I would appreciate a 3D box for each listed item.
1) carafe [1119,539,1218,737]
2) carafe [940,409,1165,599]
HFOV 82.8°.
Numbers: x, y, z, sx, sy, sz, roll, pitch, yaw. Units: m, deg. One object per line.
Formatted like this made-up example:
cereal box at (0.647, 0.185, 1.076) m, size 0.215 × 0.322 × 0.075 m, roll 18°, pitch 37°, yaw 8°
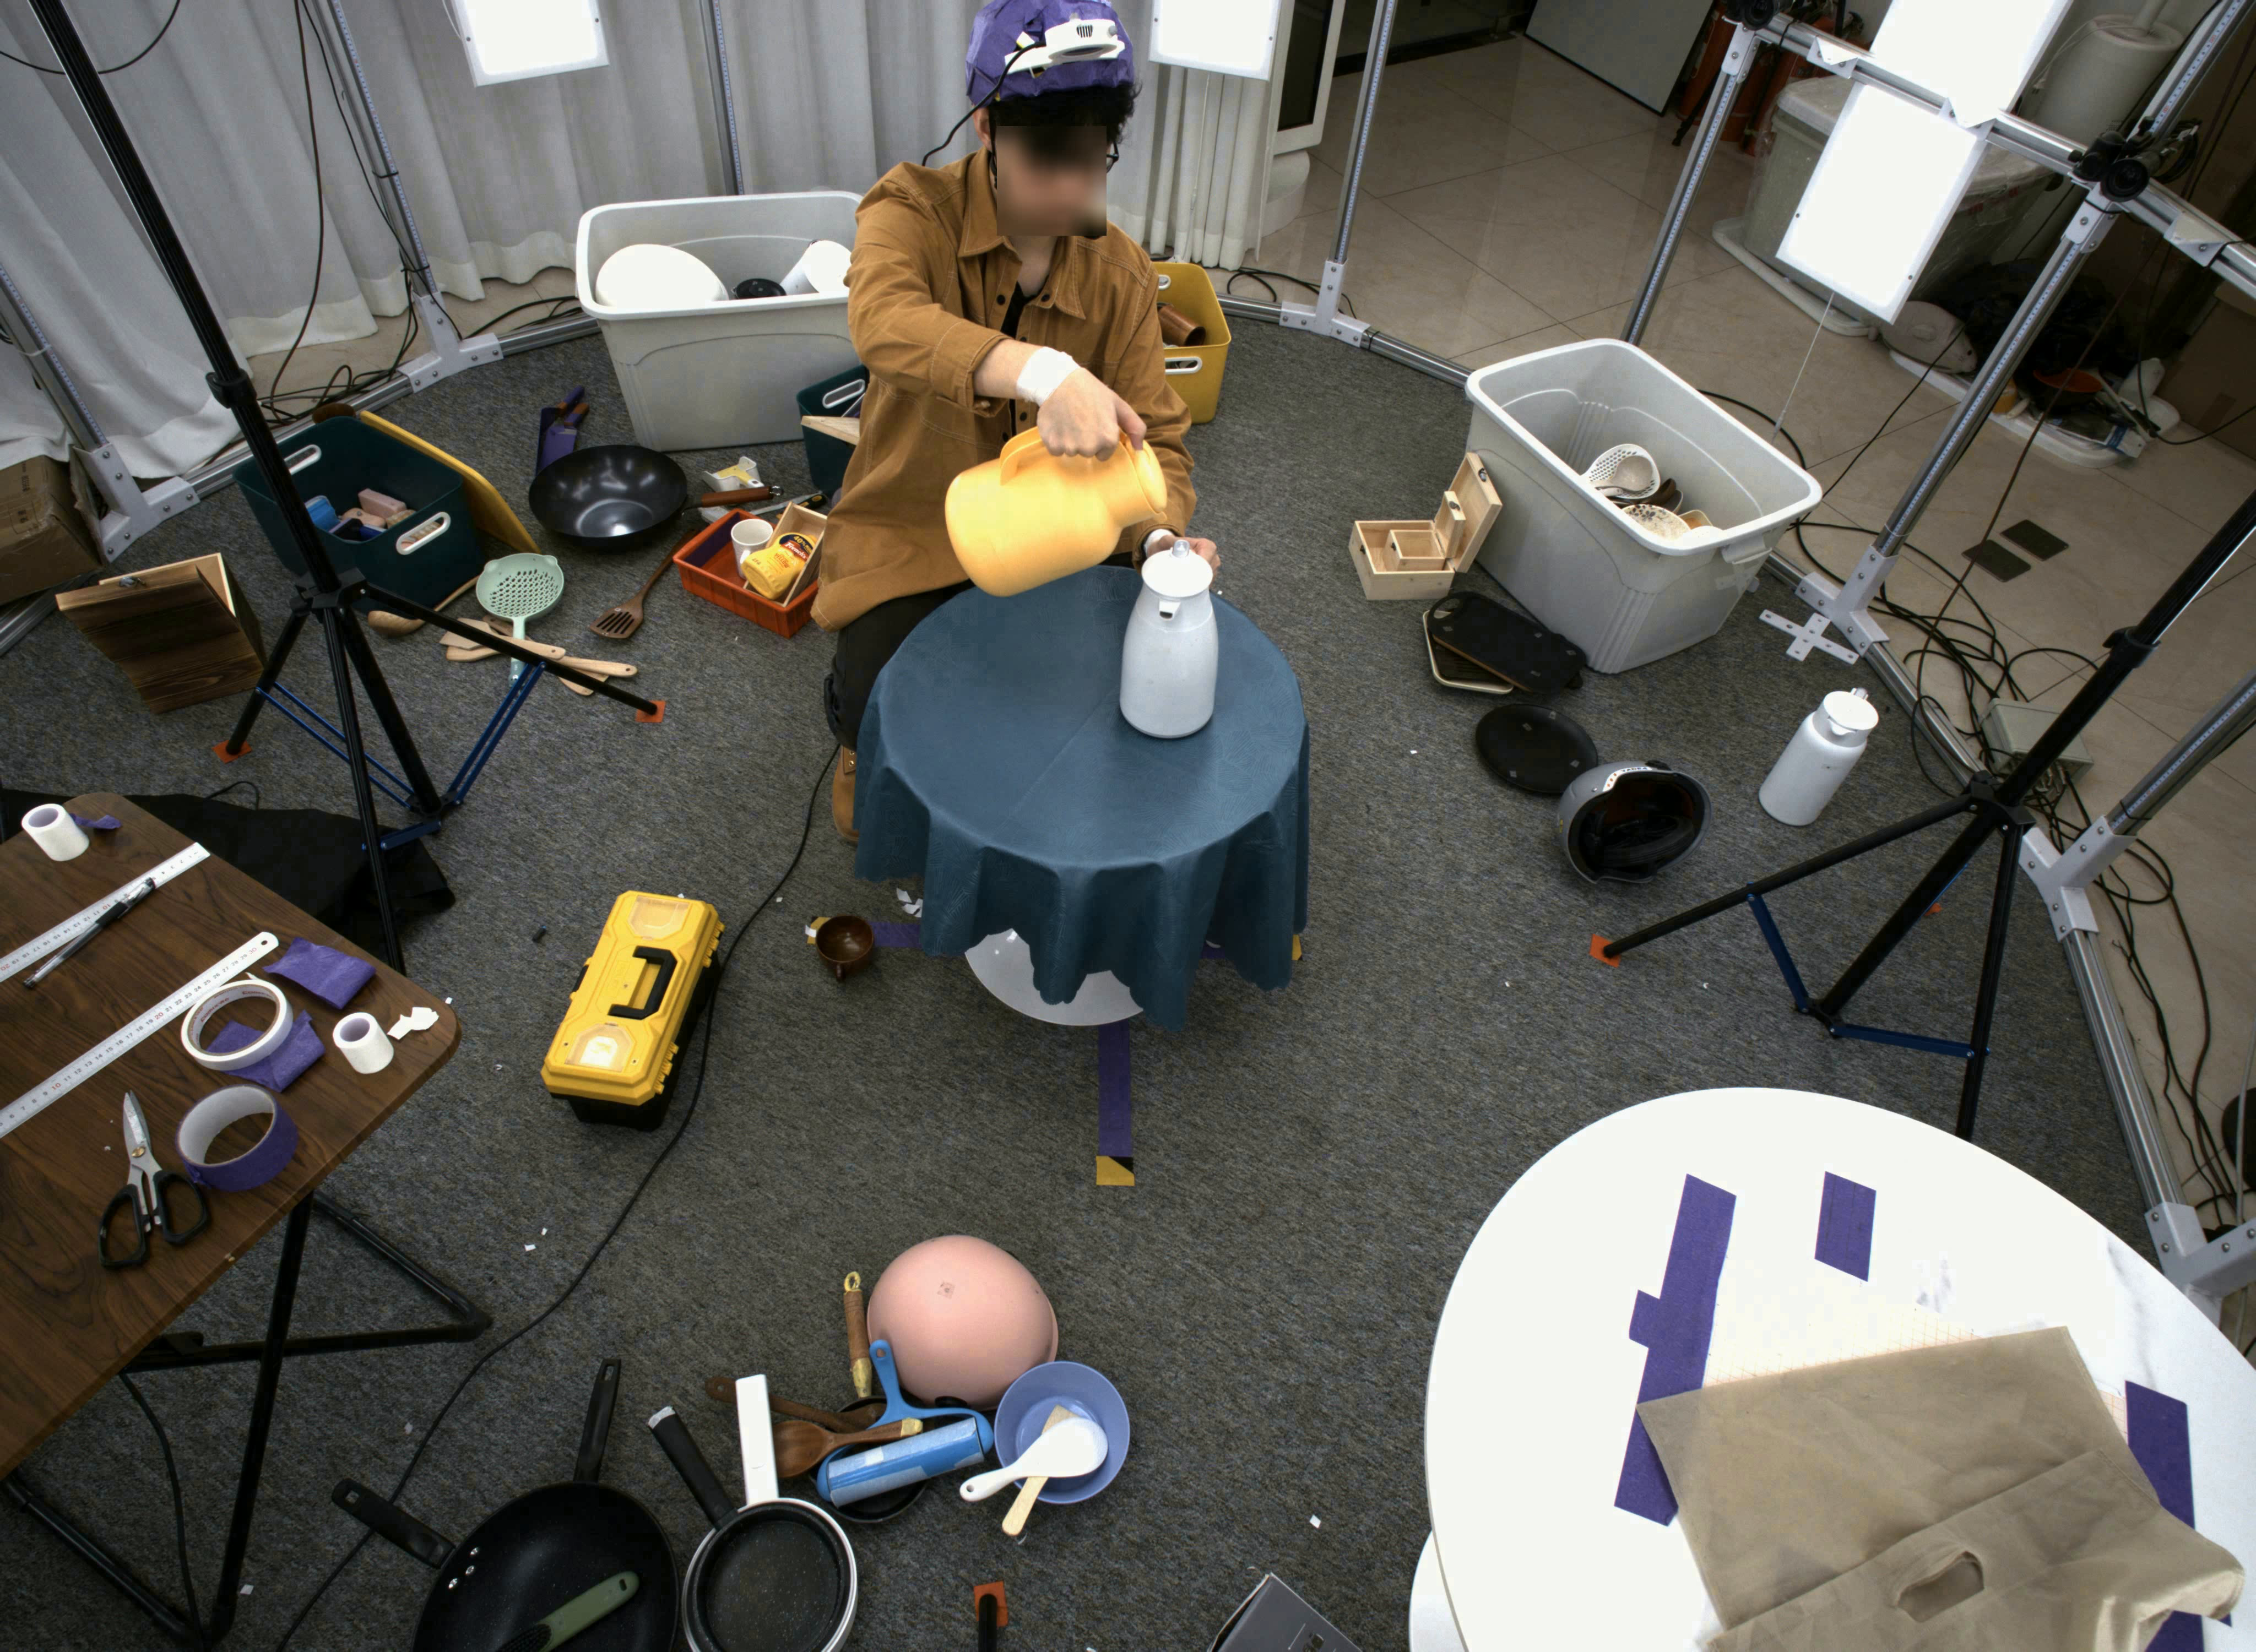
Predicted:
carafe at (0.060, -0.265, 1.733) m, size 0.133 × 0.242 × 0.171 m, roll 10°, pitch 50°, yaw 7°
carafe at (-0.094, -0.395, 1.547) m, size 0.260 × 0.198 × 0.167 m, roll -17°, pitch 55°, yaw 17°
